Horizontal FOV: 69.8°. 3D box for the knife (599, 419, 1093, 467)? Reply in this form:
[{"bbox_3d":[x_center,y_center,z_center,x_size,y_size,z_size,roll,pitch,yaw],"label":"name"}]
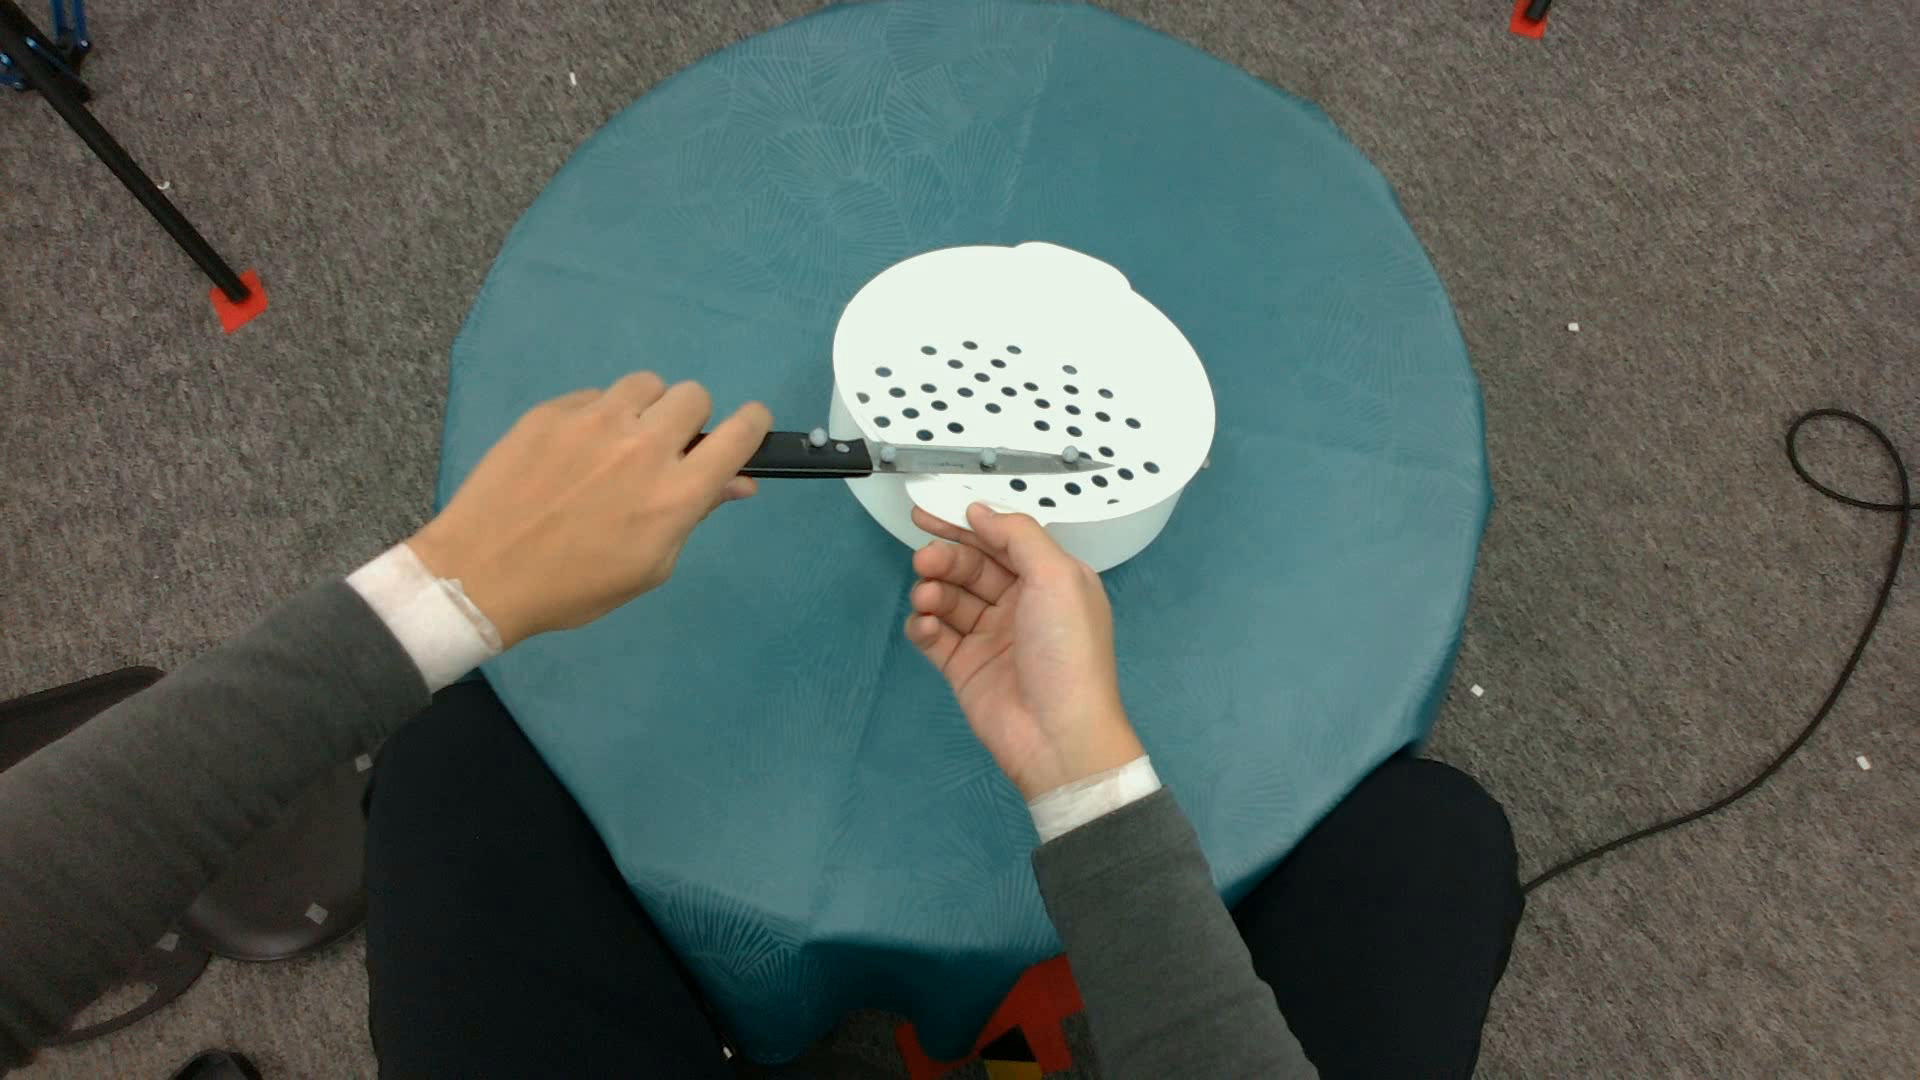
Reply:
[{"bbox_3d":[-0.044,-0.045,0.637,0.238,0.016,0.024,-2,46,-22],"label":"knife"}]

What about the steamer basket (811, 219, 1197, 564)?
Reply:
[{"bbox_3d":[0.020,-0.078,0.731,0.202,0.069,0.232,19,50,3],"label":"steamer basket"}]
